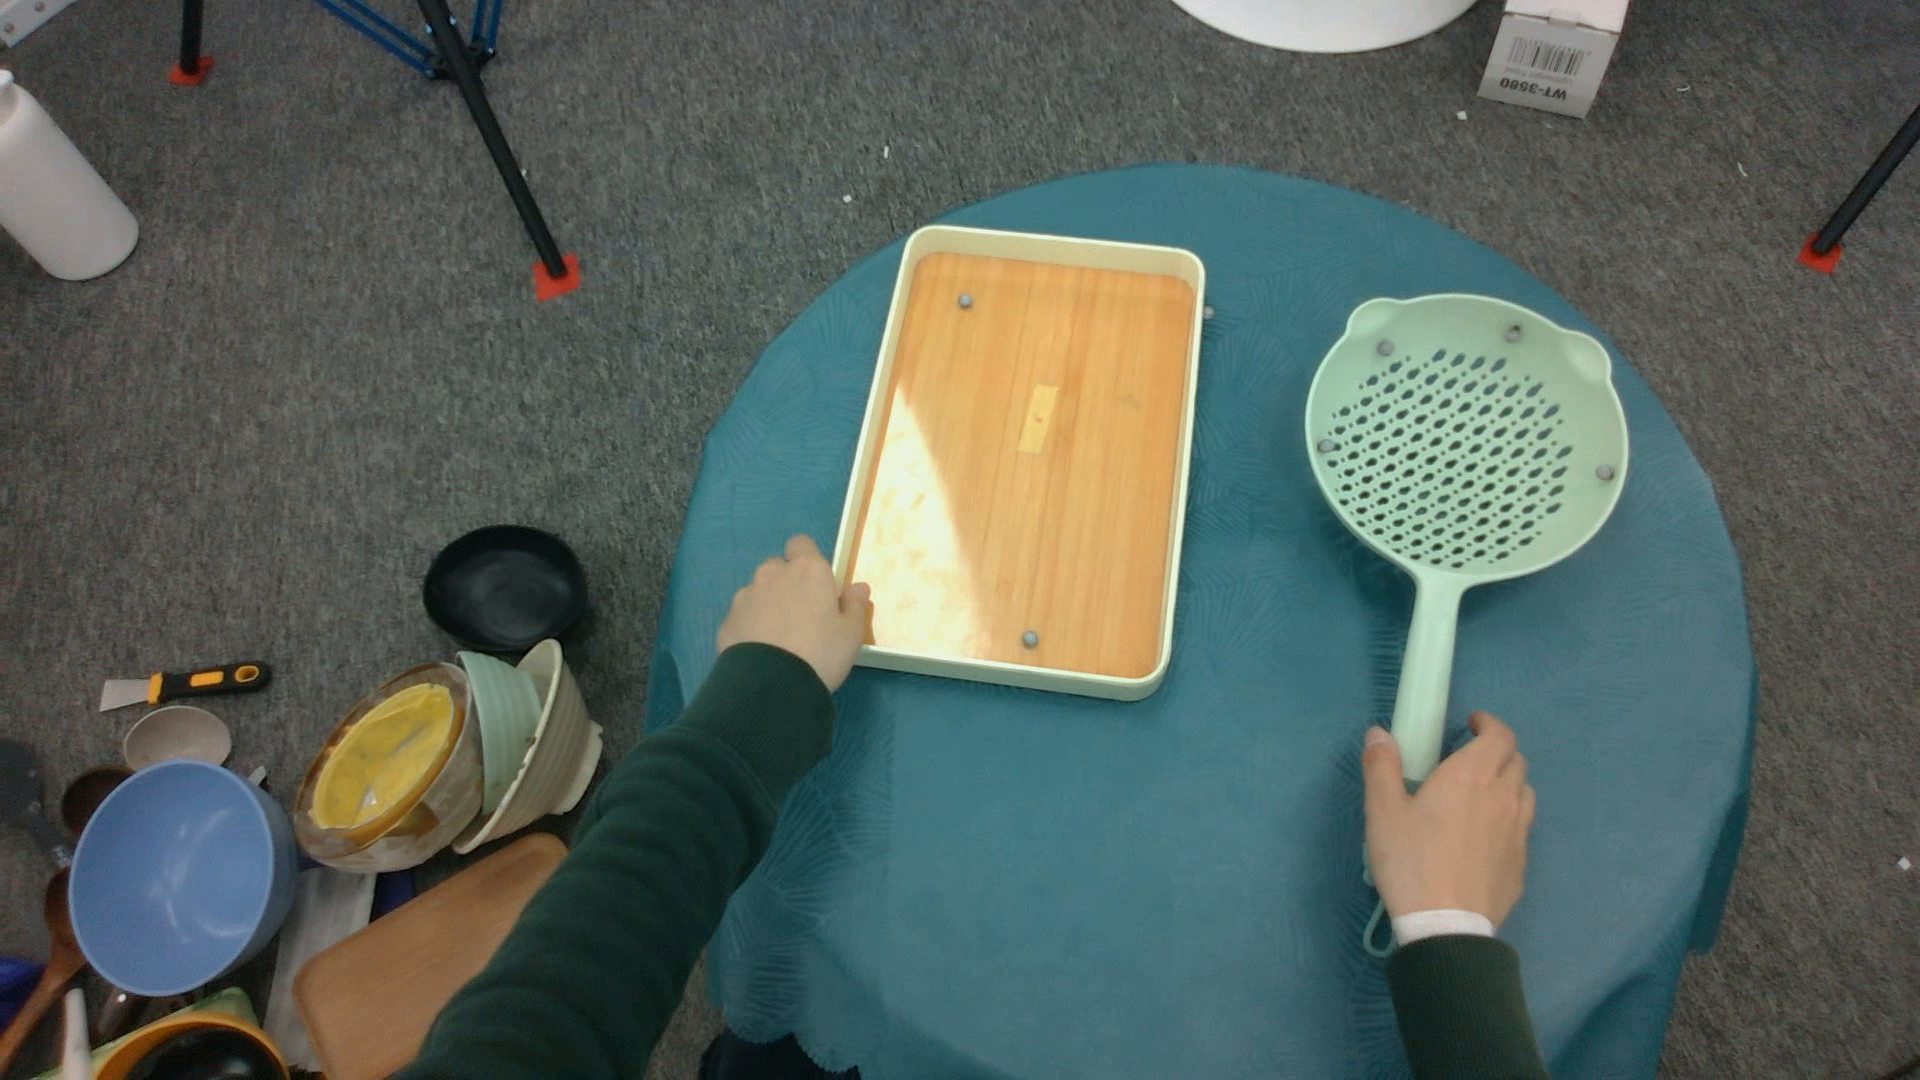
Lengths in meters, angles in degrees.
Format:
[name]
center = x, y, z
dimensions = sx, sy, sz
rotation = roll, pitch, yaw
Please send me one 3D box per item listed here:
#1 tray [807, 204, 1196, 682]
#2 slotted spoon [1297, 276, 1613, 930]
[tray]
center = 0.032, -0.068, 0.807
dimensions = 0.191, 0.027, 0.301
rotation = 7, 62, 6
[slotted spoon]
center = 0.245, 0.023, 0.730
dimensions = 0.169, 0.075, 0.360
rotation = 13, 63, 9
